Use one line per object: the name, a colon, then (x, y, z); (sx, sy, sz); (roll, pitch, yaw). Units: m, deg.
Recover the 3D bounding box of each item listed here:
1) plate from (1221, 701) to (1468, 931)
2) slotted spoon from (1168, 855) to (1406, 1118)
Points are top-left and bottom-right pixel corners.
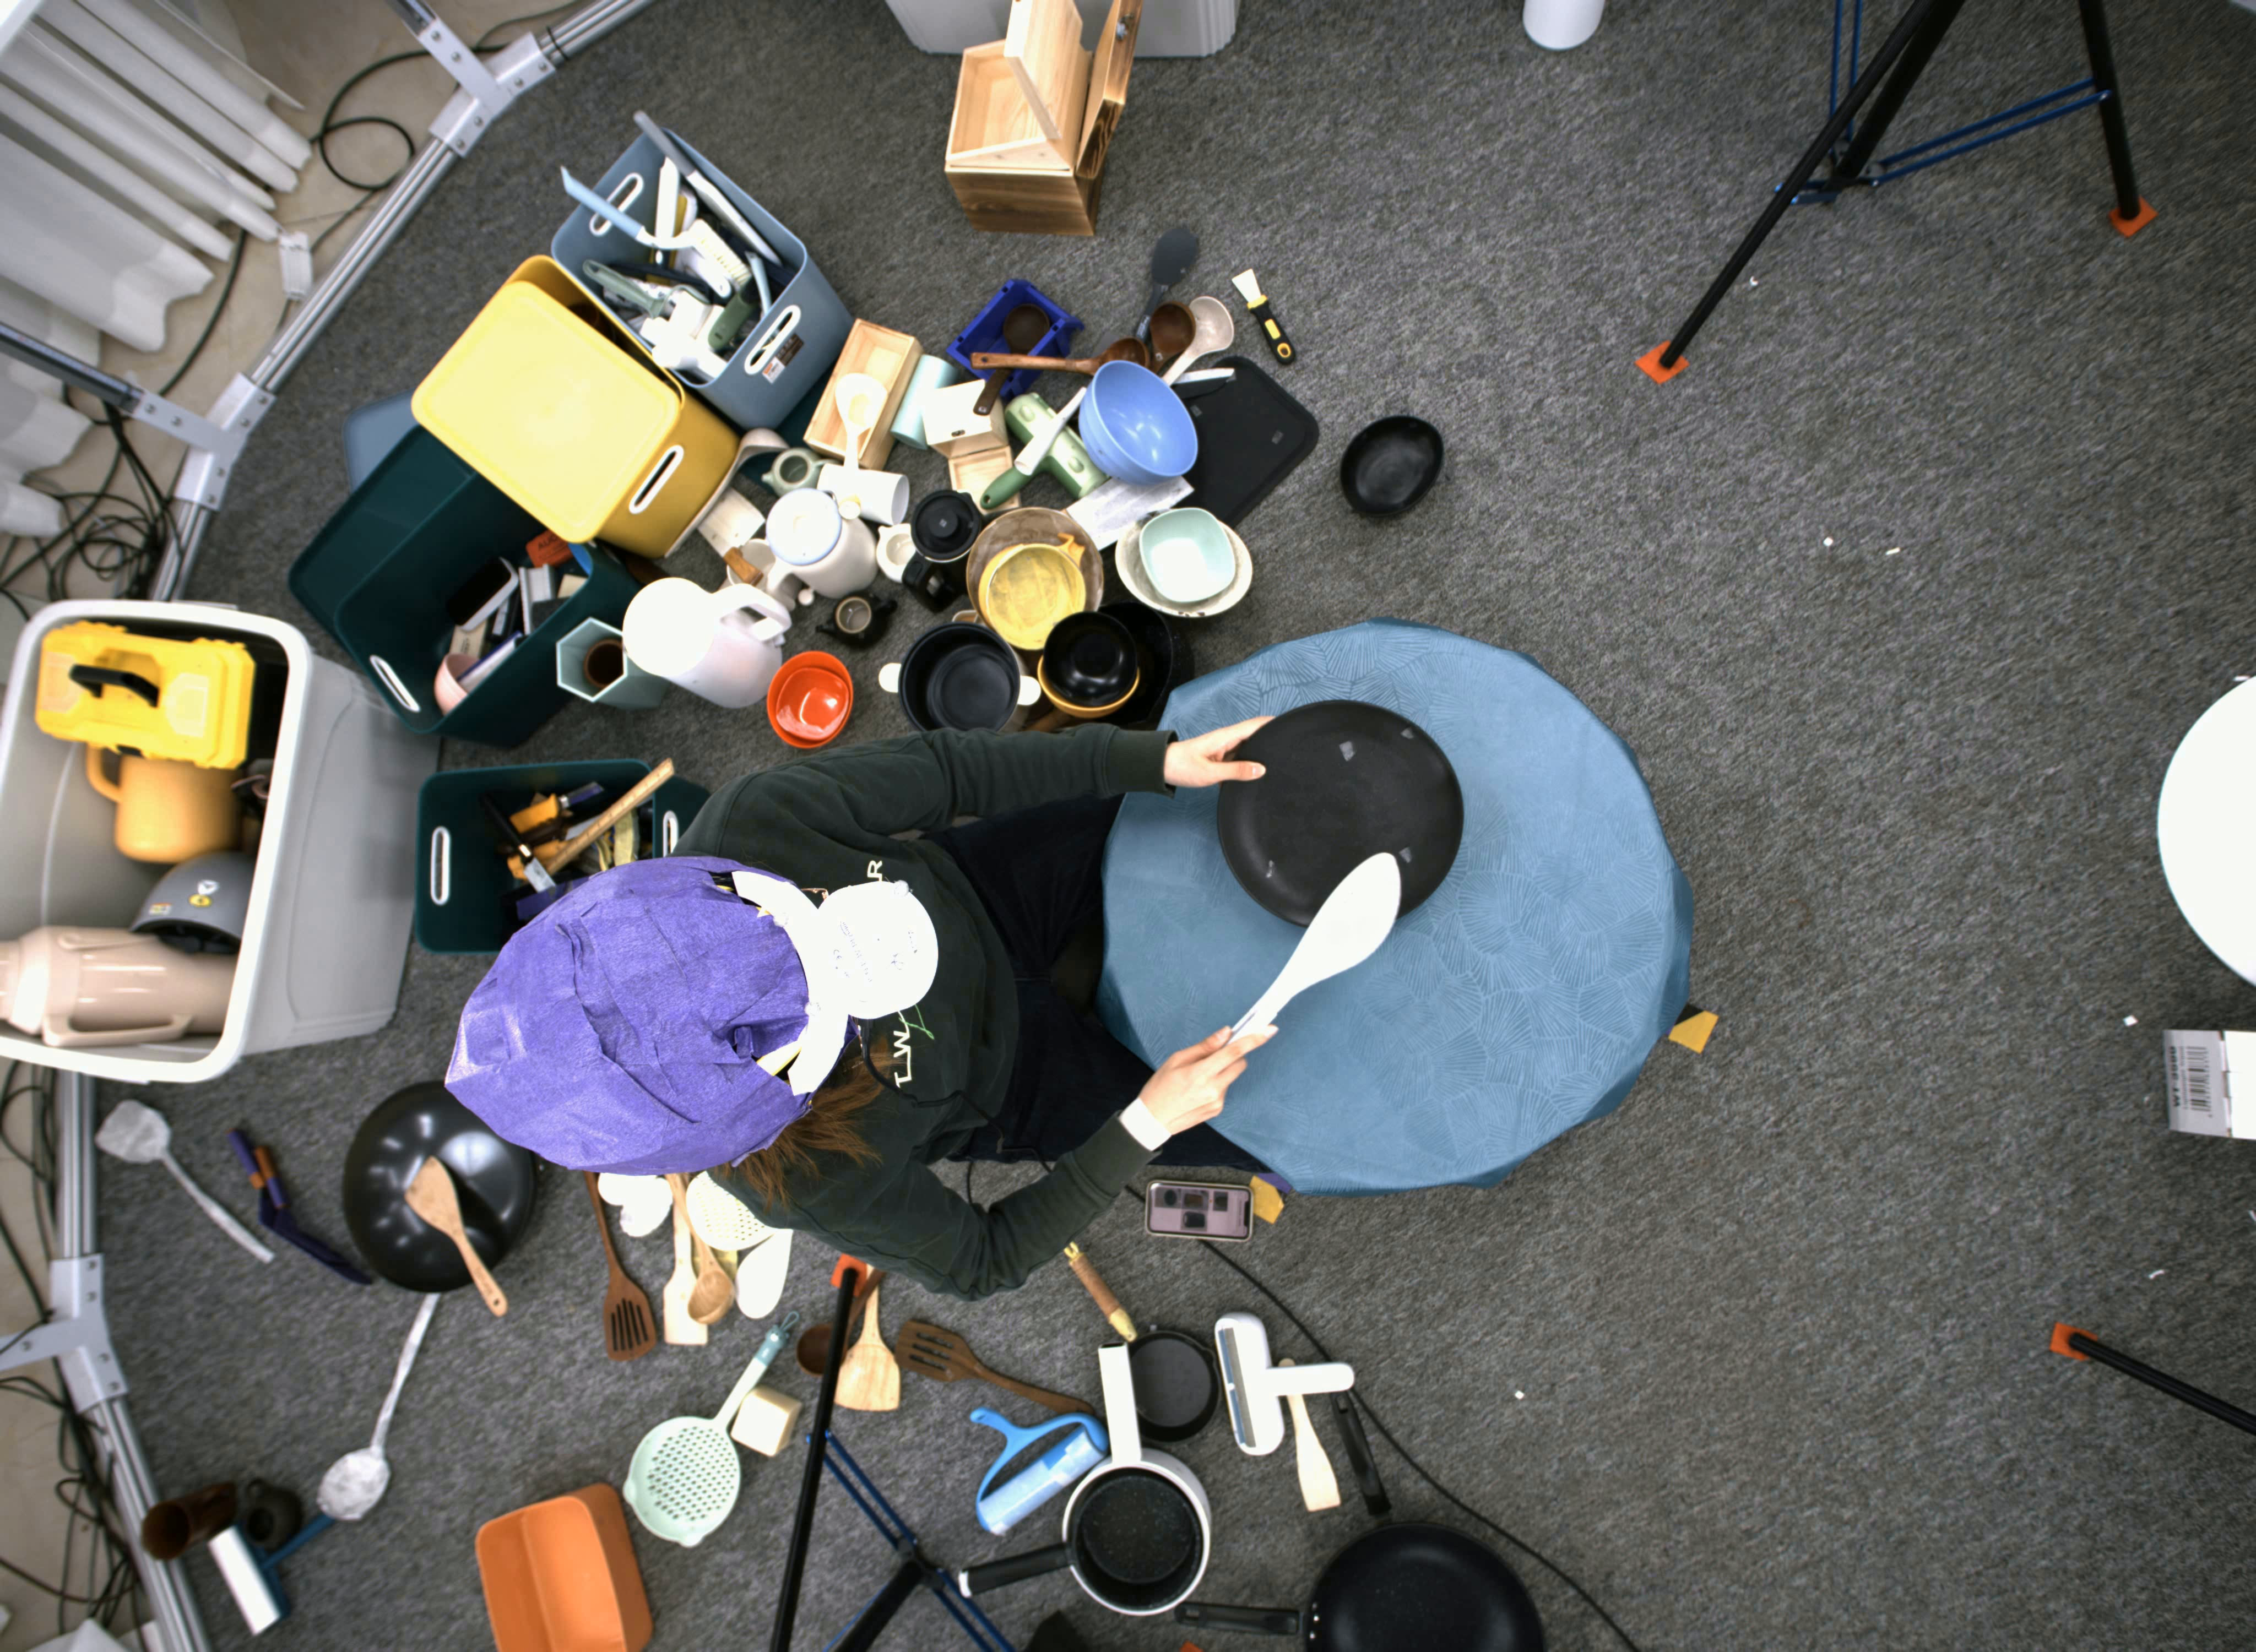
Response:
plate: (0.215, -0.009, 1.380); (0.245, 0.023, 0.248); (3, 111, 7)
slotted spoon: (0.150, 0.162, 1.330); (0.046, 0.133, 0.356); (41, 113, -9)
